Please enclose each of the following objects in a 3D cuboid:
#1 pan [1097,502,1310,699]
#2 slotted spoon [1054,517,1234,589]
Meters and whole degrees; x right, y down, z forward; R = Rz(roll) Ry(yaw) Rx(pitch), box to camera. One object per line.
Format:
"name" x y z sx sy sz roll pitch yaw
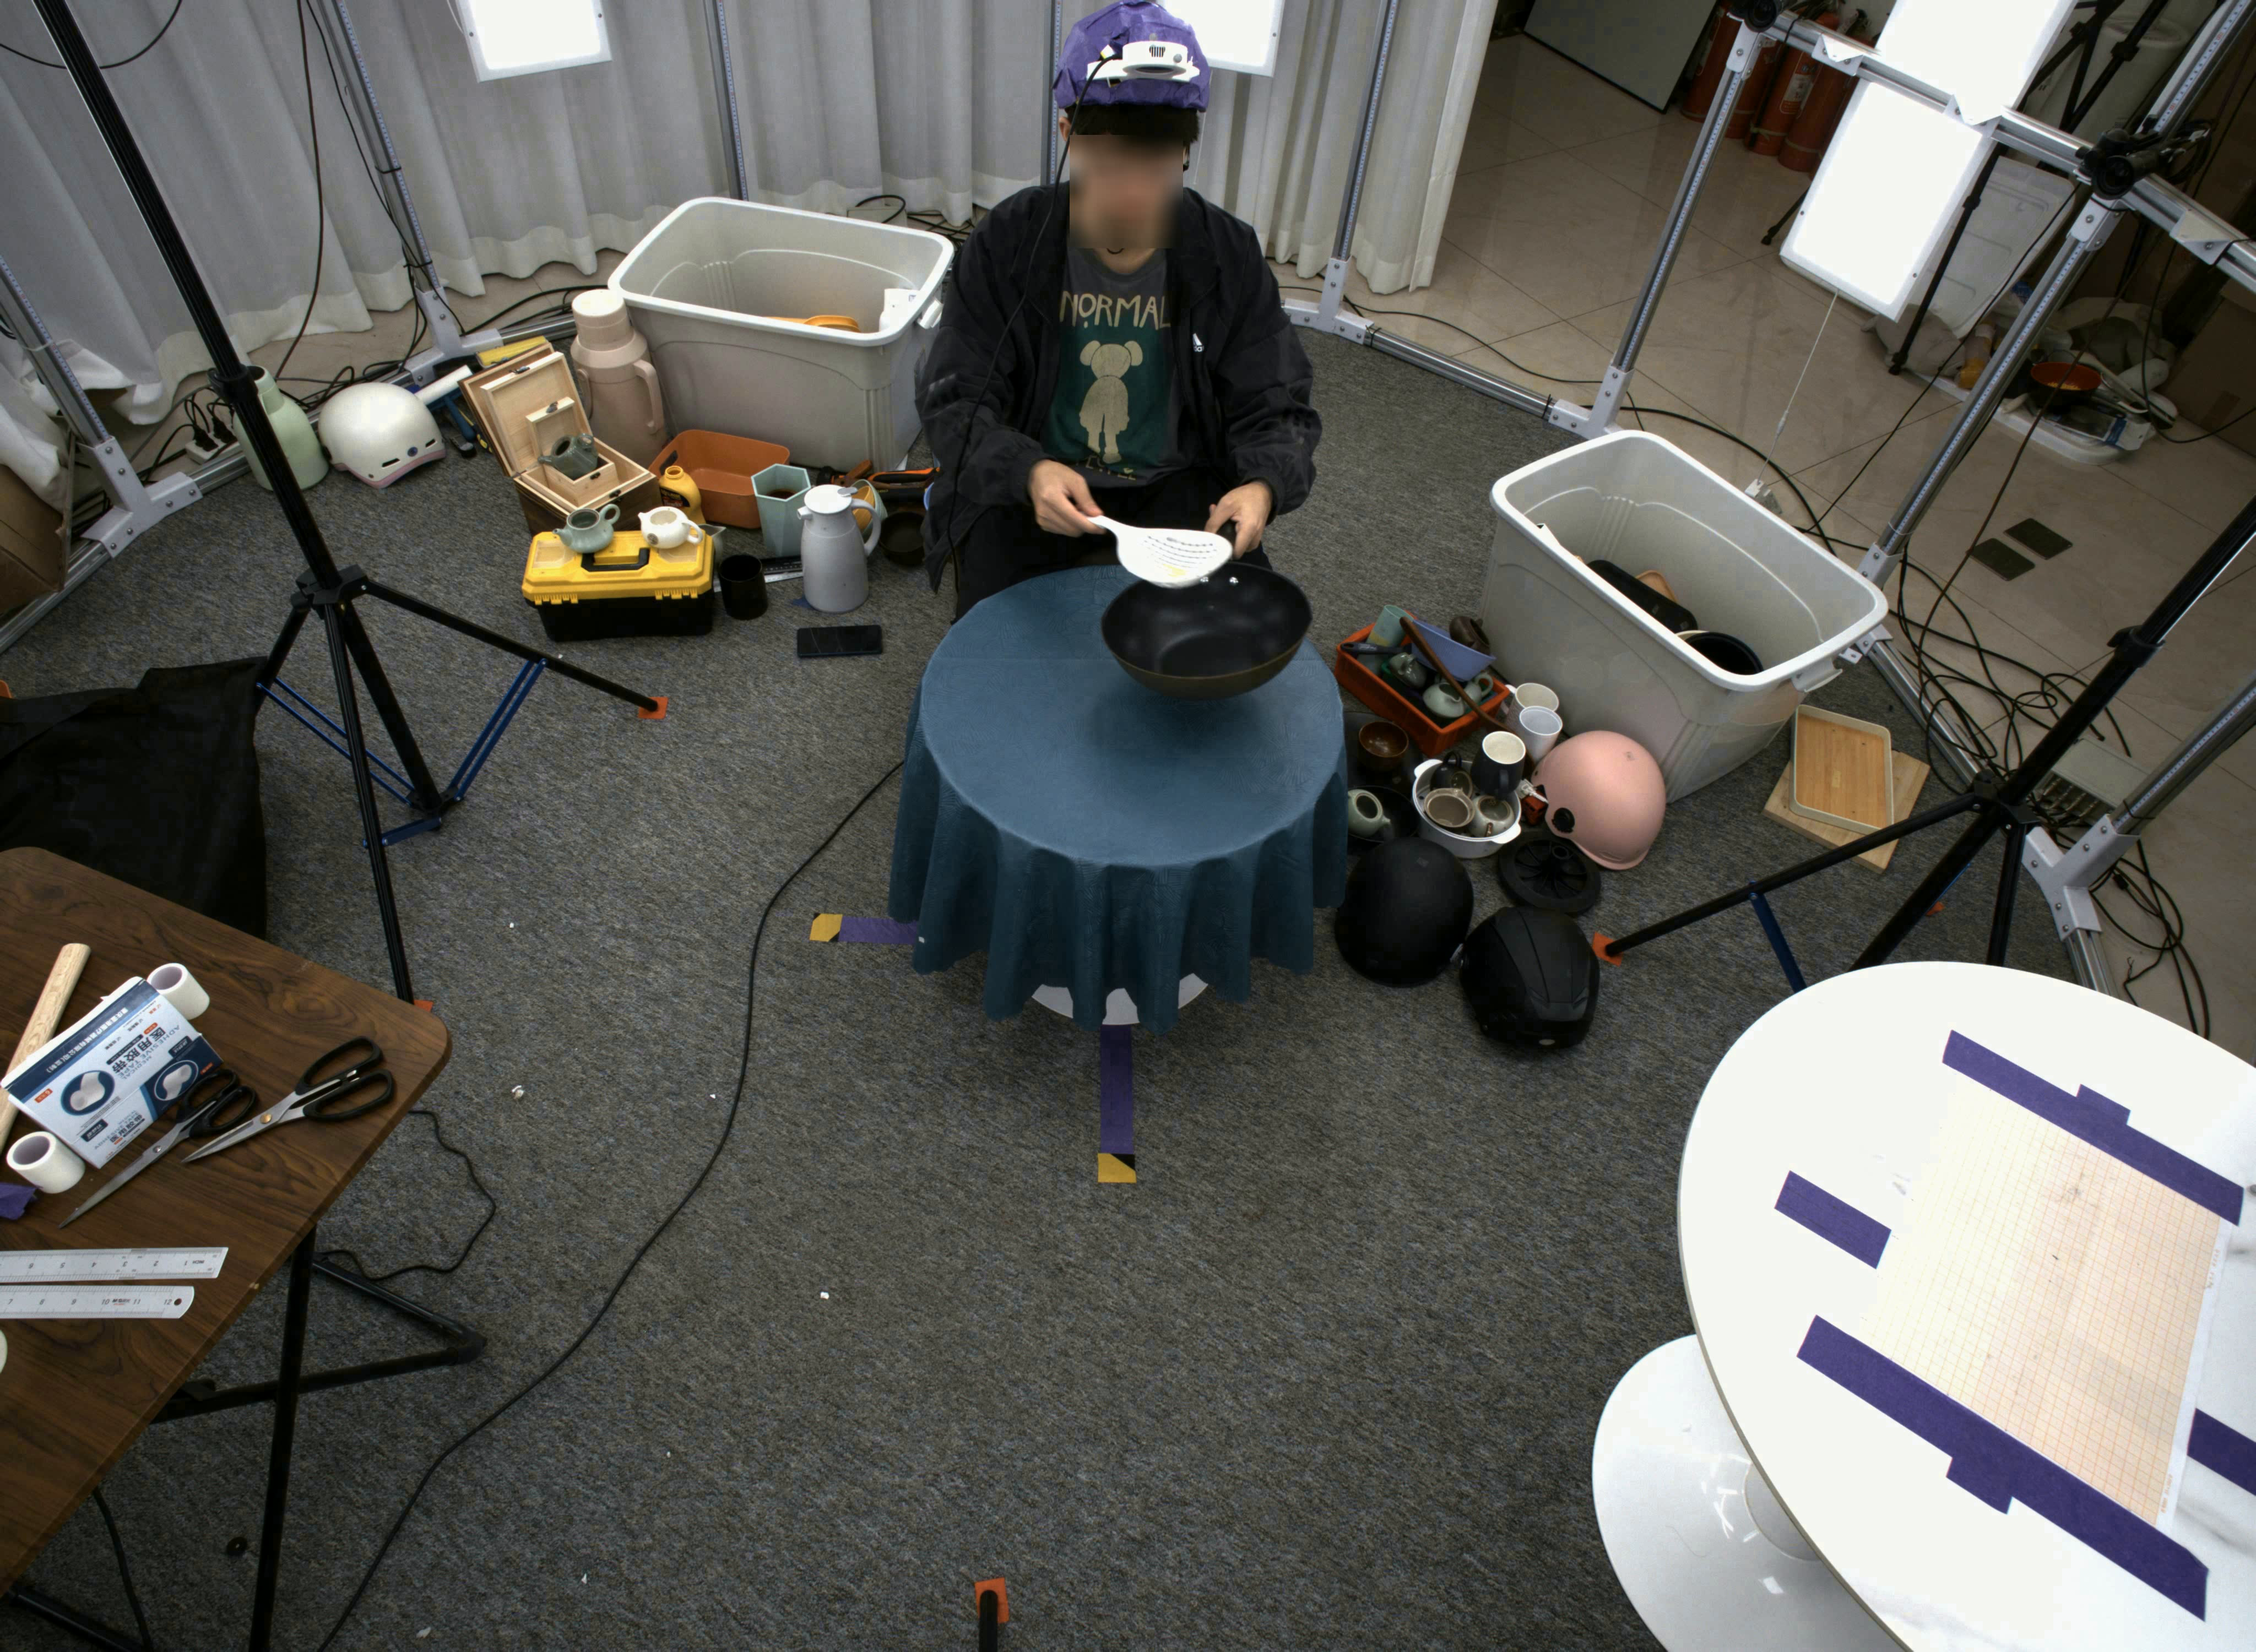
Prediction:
"pan" 0.121 -0.315 1.818 0.288 0.085 0.474 2 41 13
"slotted spoon" 0.006 -0.390 1.768 0.138 0.049 0.354 -33 44 -22
